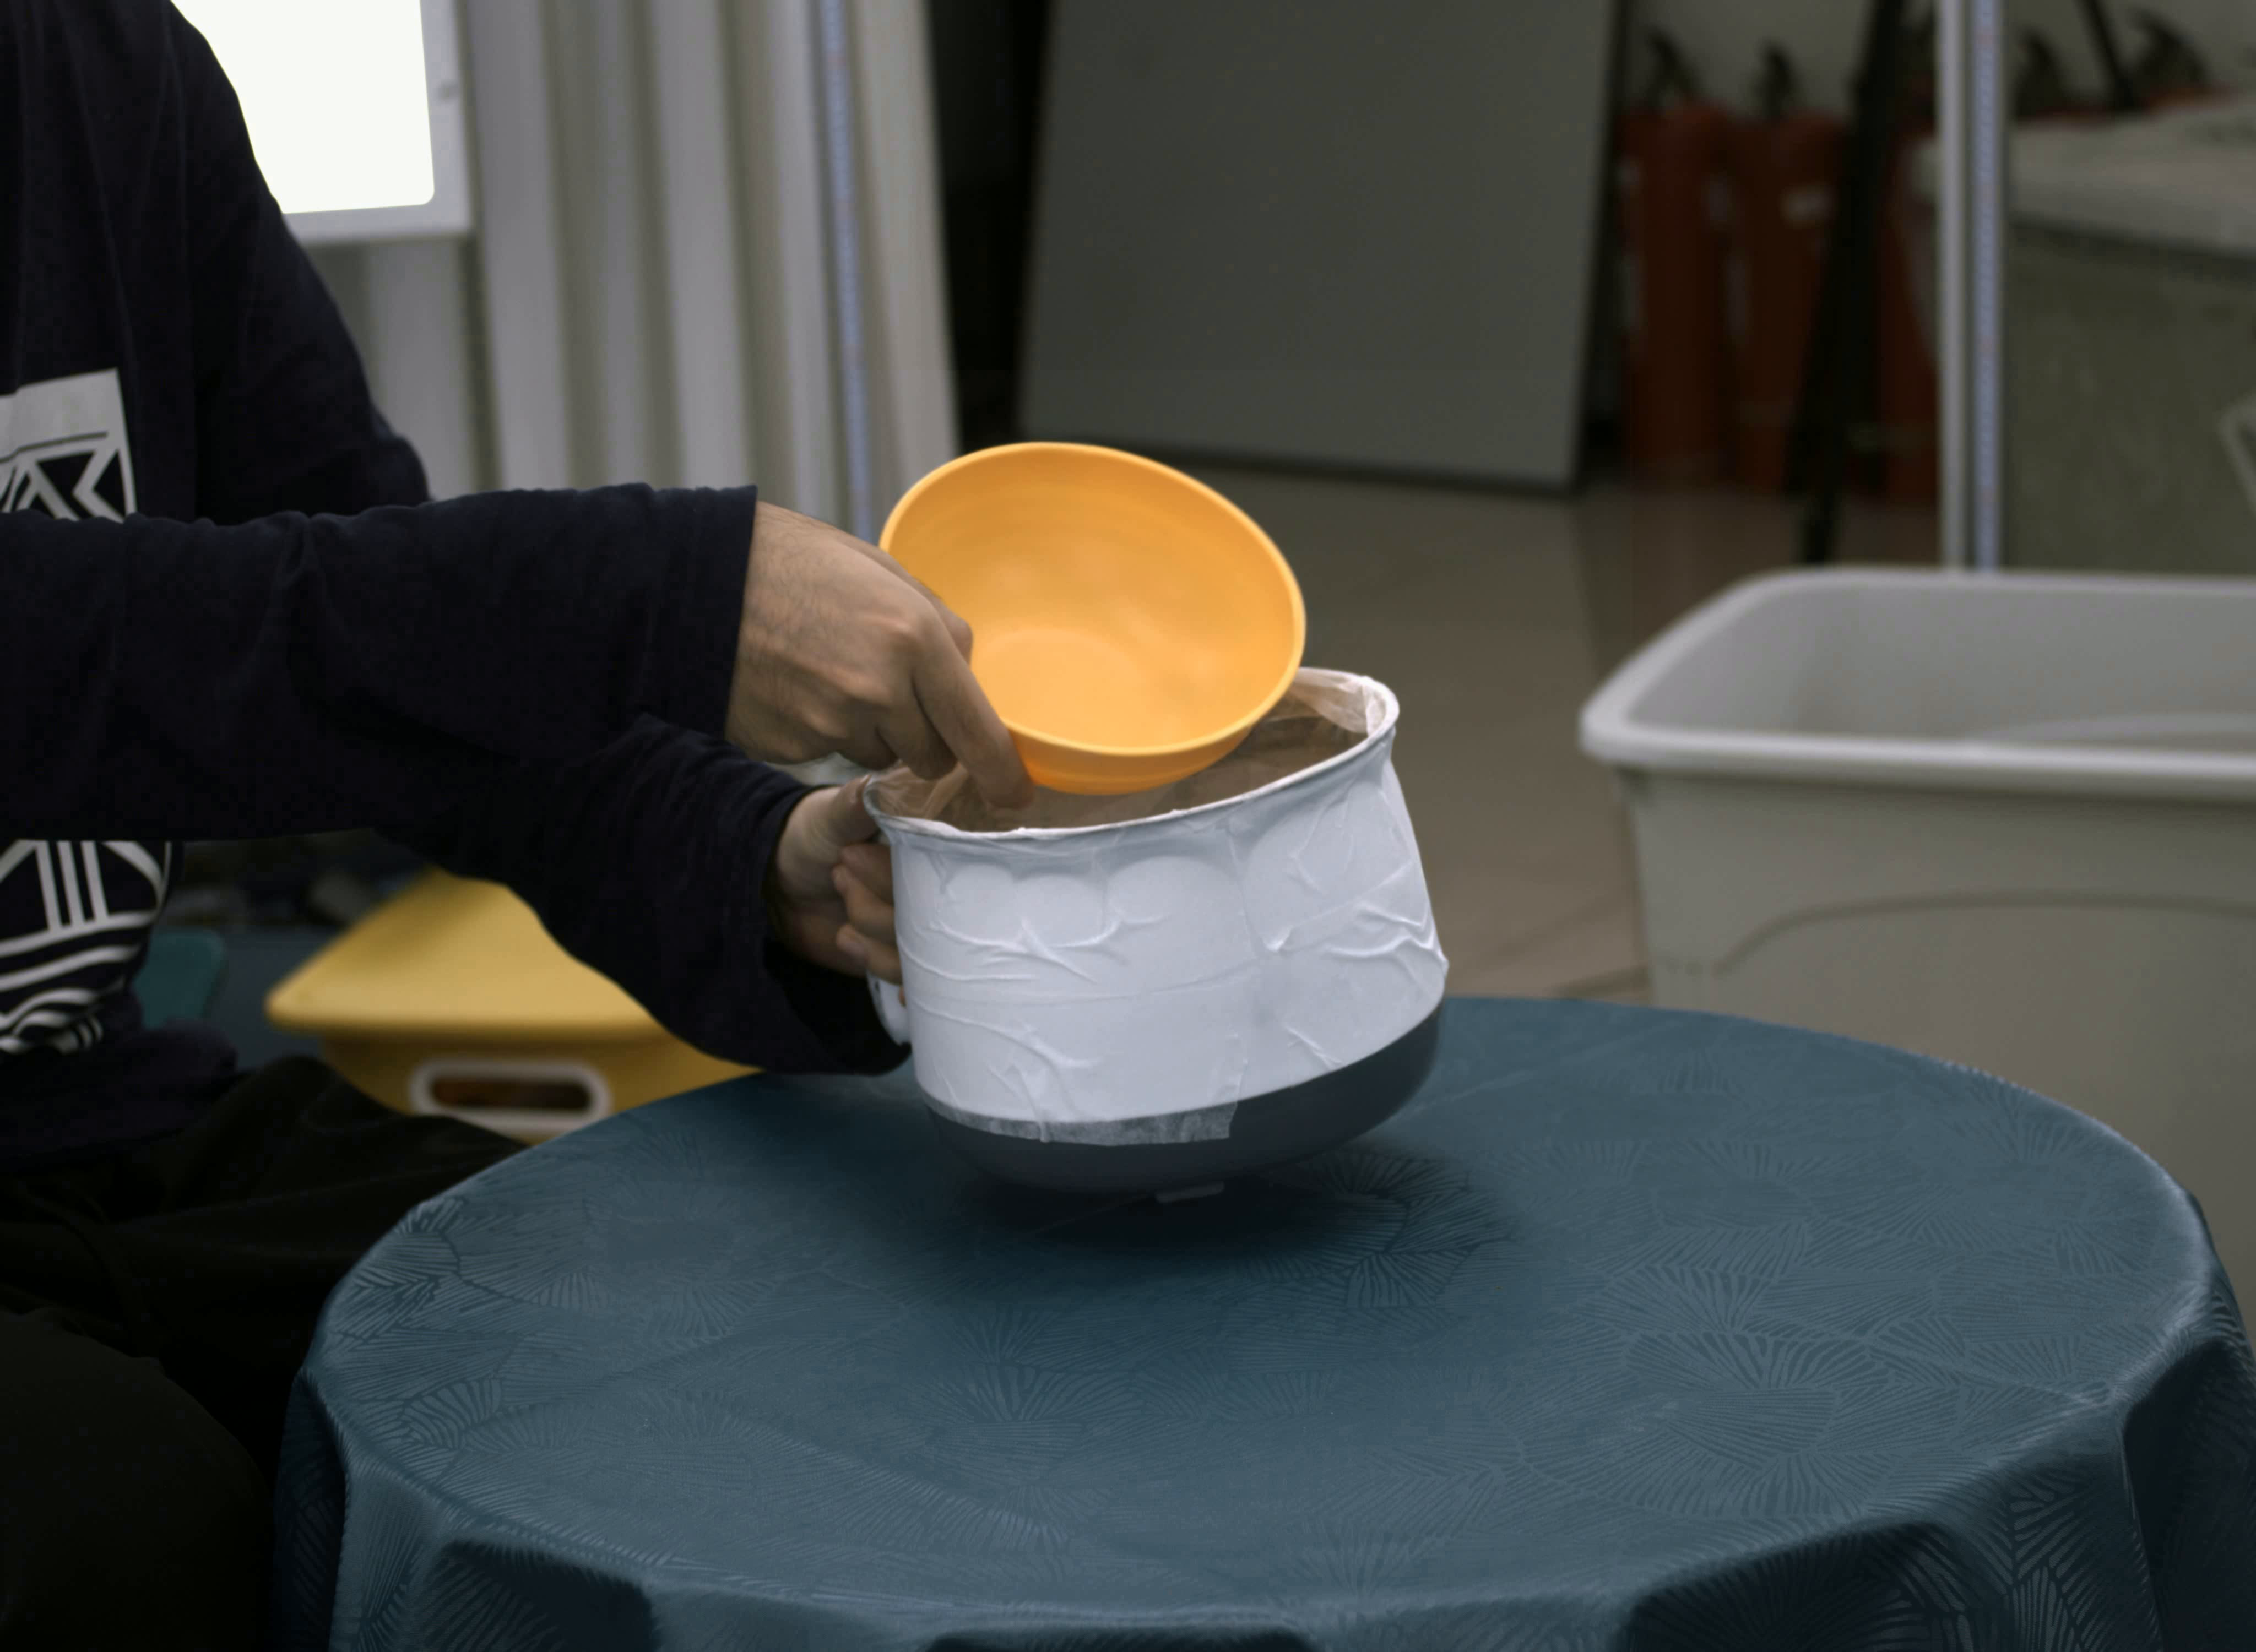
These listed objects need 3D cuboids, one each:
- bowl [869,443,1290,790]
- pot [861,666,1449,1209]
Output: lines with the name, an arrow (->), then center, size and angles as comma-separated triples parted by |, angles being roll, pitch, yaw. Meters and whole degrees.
bowl -> -0.021, -0.057, 1.776 | 0.143, 0.060, 0.146 | 9, 42, -9
pot -> -0.006, 0.035, 1.771 | 0.175, 0.138, 0.236 | -23, 17, -38
